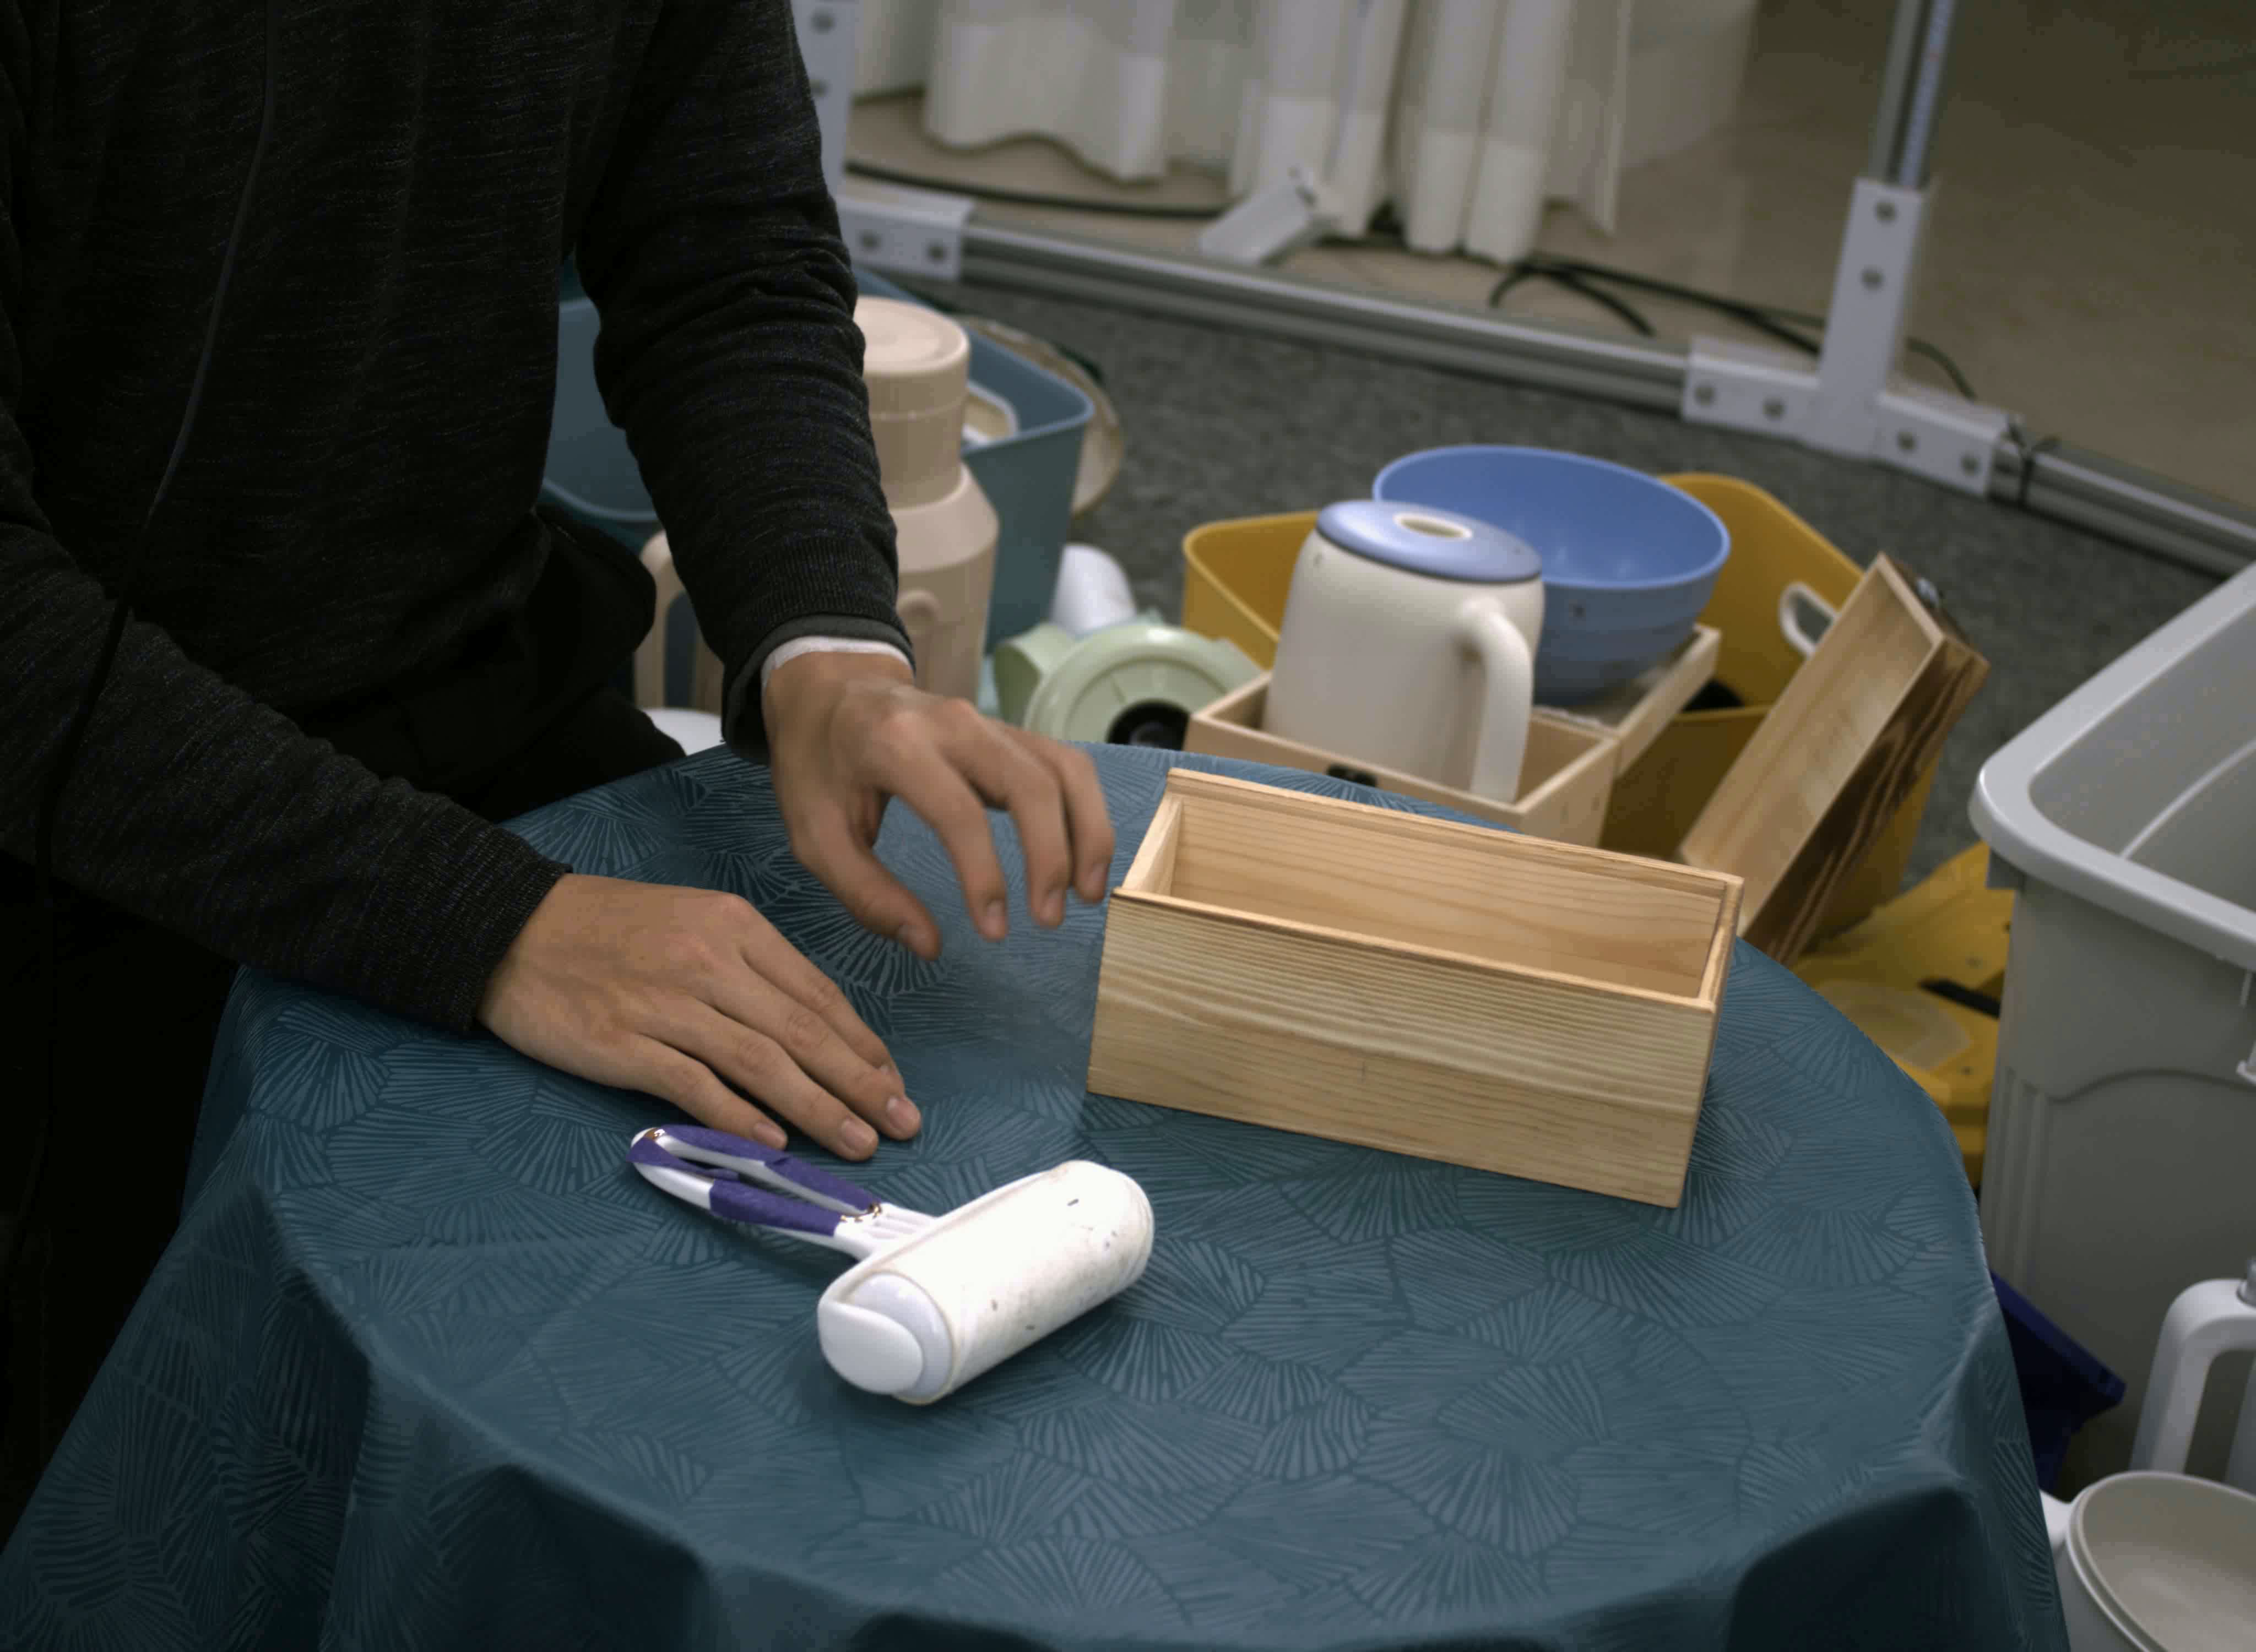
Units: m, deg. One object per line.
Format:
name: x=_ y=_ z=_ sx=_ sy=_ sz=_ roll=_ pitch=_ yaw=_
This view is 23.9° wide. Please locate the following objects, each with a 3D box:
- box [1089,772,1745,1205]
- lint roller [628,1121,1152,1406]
box: x=0.102 y=0.056 z=1.870 sx=0.211 sy=0.080 sz=0.108 roll=10 pitch=27 yaw=9
lint roller: x=-0.092 y=0.121 z=1.735 sx=0.182 sy=0.050 sz=0.132 roll=27 pitch=34 yaw=32
